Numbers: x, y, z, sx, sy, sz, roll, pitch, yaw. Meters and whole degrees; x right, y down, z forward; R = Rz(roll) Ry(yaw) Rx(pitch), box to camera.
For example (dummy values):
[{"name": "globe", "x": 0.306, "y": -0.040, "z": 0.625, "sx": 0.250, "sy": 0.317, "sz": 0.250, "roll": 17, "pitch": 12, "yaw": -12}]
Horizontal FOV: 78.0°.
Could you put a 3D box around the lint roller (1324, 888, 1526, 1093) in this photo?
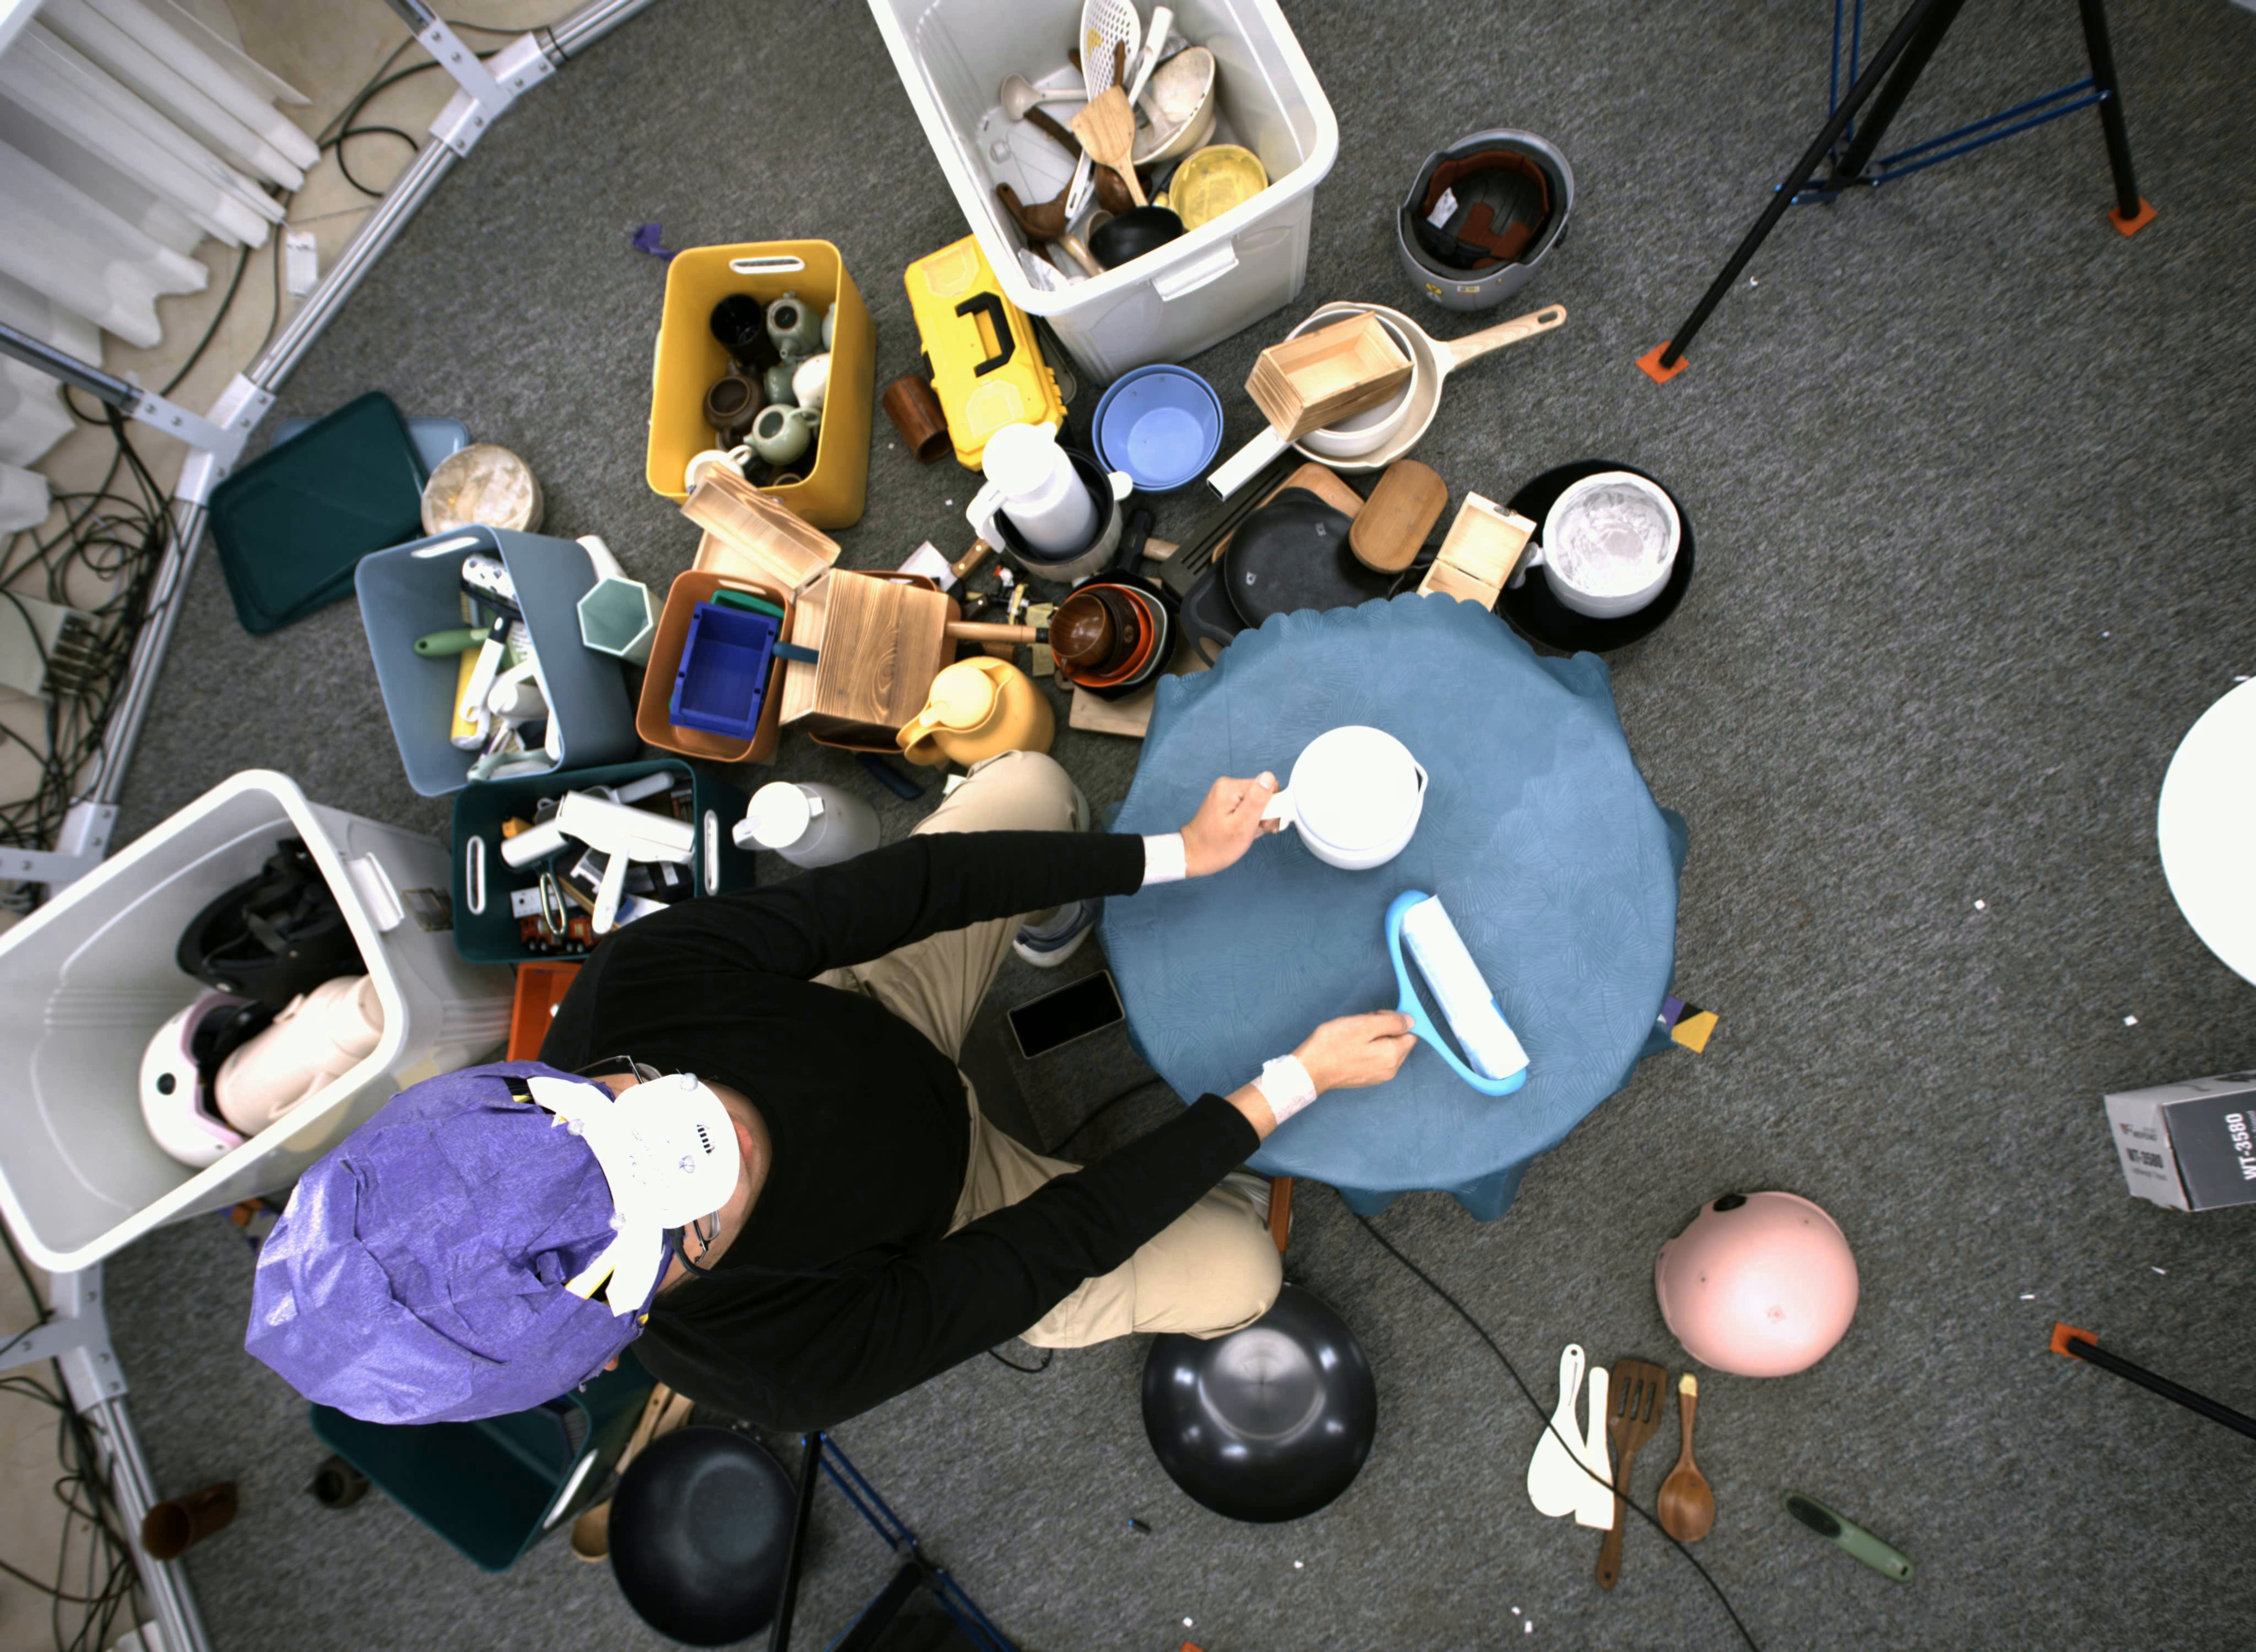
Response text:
[{"name": "lint roller", "x": 0.287, "y": 0.195, "z": 1.415, "sx": 0.180, "sy": 0.068, "sz": 0.228, "roll": -30, "pitch": 85, "yaw": -3}]

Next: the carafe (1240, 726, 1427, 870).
[{"name": "carafe", "x": 0.205, "y": -0.023, "z": 1.390, "sx": 0.192, "sy": 0.183, "sz": 0.131, "roll": -11, "pitch": 82, "yaw": 11}]
